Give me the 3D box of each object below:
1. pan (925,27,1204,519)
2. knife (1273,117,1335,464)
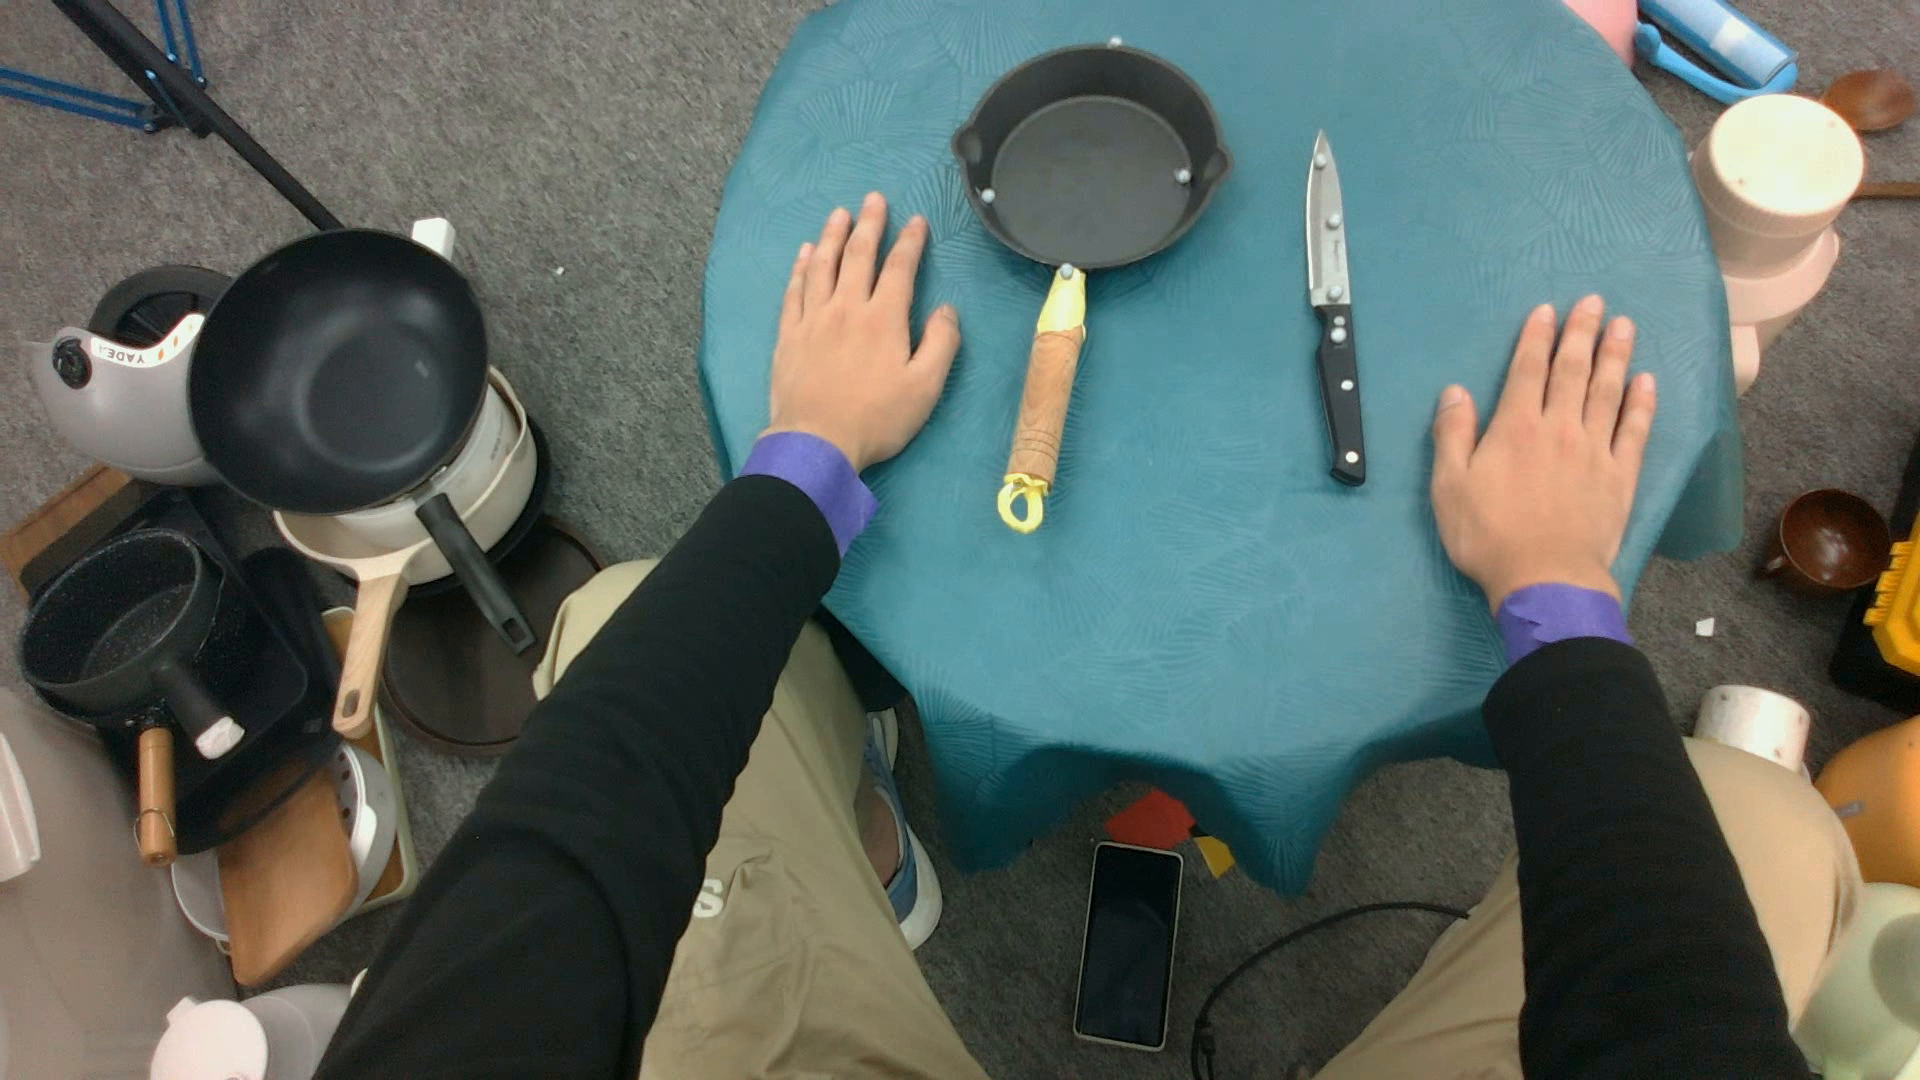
[{"bbox_3d":[0.046,-0.160,0.805,0.169,0.049,0.325,9,72,8],"label":"pan"},{"bbox_3d":[0.201,-0.153,0.809,0.024,0.016,0.239,-2,67,6],"label":"knife"}]
